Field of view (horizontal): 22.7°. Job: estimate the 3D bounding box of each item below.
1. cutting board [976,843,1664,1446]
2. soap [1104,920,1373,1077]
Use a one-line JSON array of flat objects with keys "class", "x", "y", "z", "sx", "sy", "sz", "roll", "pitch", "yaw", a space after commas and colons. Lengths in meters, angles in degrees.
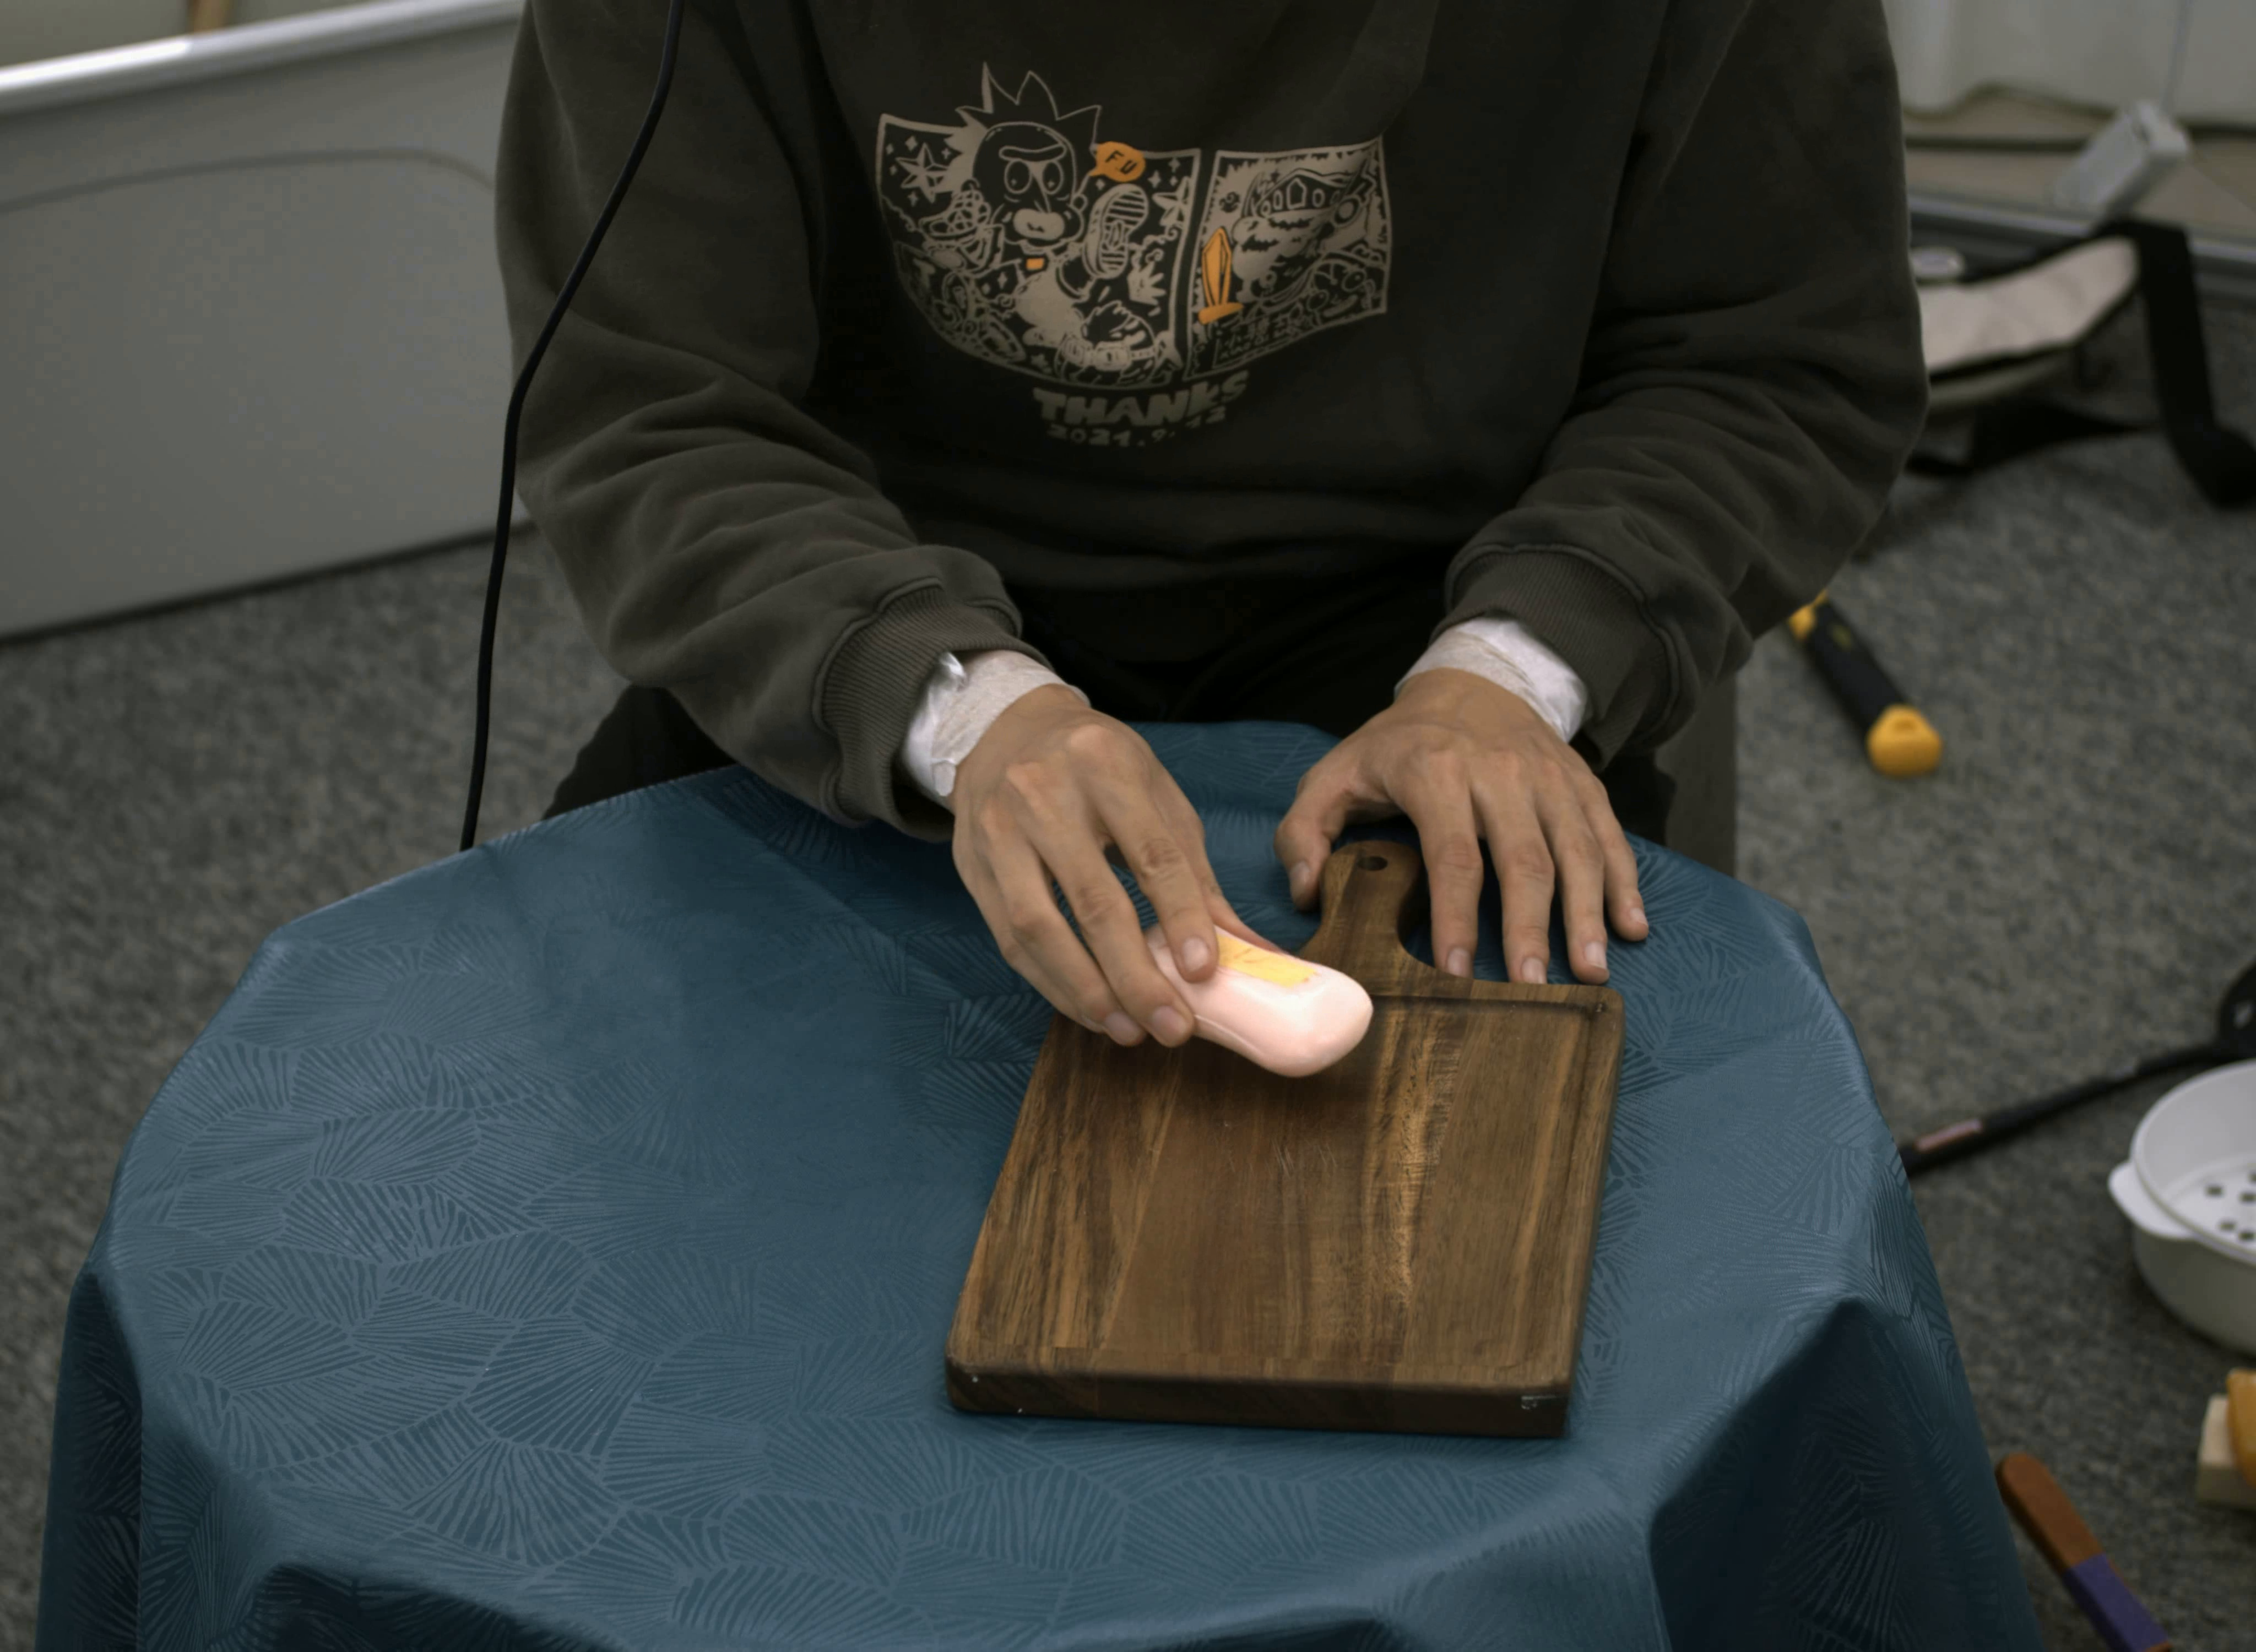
[{"class": "cutting board", "x": 0.076, "y": 0.097, "z": 1.877, "sx": 0.200, "sy": 0.023, "sz": 0.358, "roll": 2, "pitch": 28, "yaw": 10}, {"class": "soap", "x": 0.037, "y": 0.058, "z": 1.891, "sx": 0.094, "sy": 0.030, "sz": 0.051, "roll": 19, "pitch": 35, "yaw": 34}]
